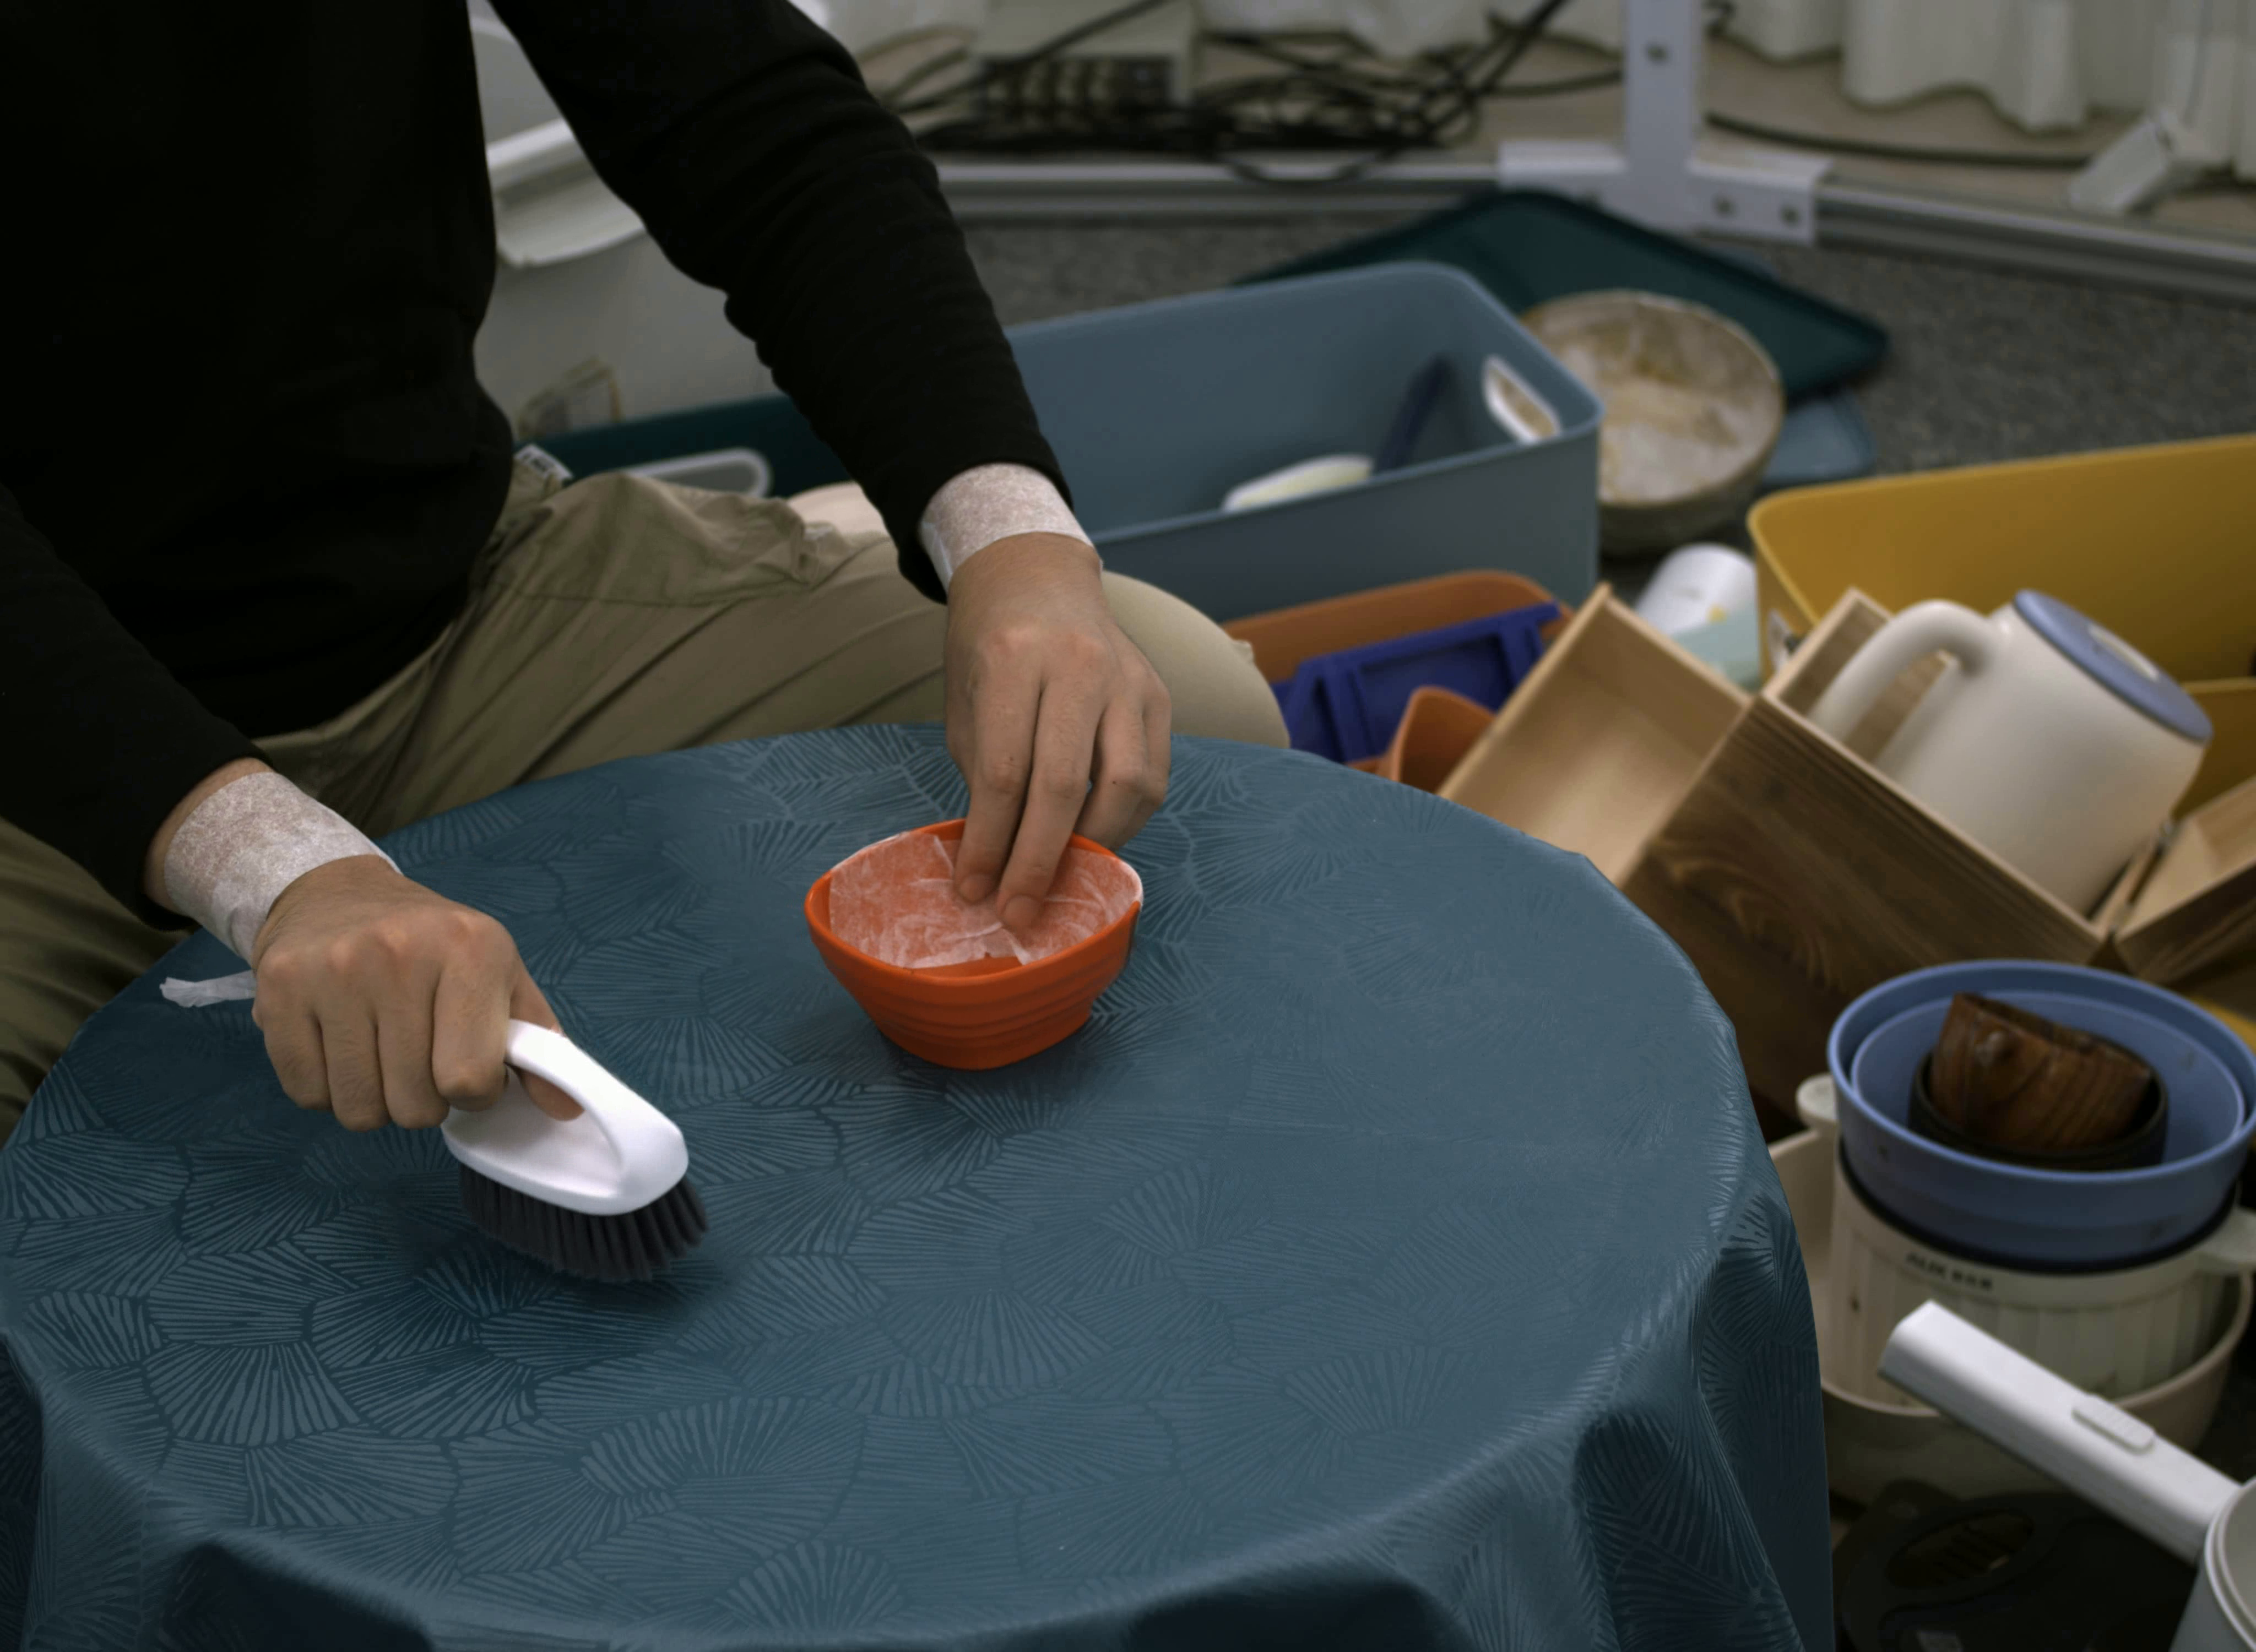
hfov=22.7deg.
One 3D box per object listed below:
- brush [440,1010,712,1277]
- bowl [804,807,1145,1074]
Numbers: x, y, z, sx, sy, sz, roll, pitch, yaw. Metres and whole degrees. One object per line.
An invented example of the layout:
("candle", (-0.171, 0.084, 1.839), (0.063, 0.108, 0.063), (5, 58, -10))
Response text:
("brush", (-0.184, 0.096, 1.815), (0.099, 0.071, 0.051), (19, 45, 42))
("bowl", (-0.053, 0.044, 1.958), (0.118, 0.051, 0.121), (-1, 31, 1))
